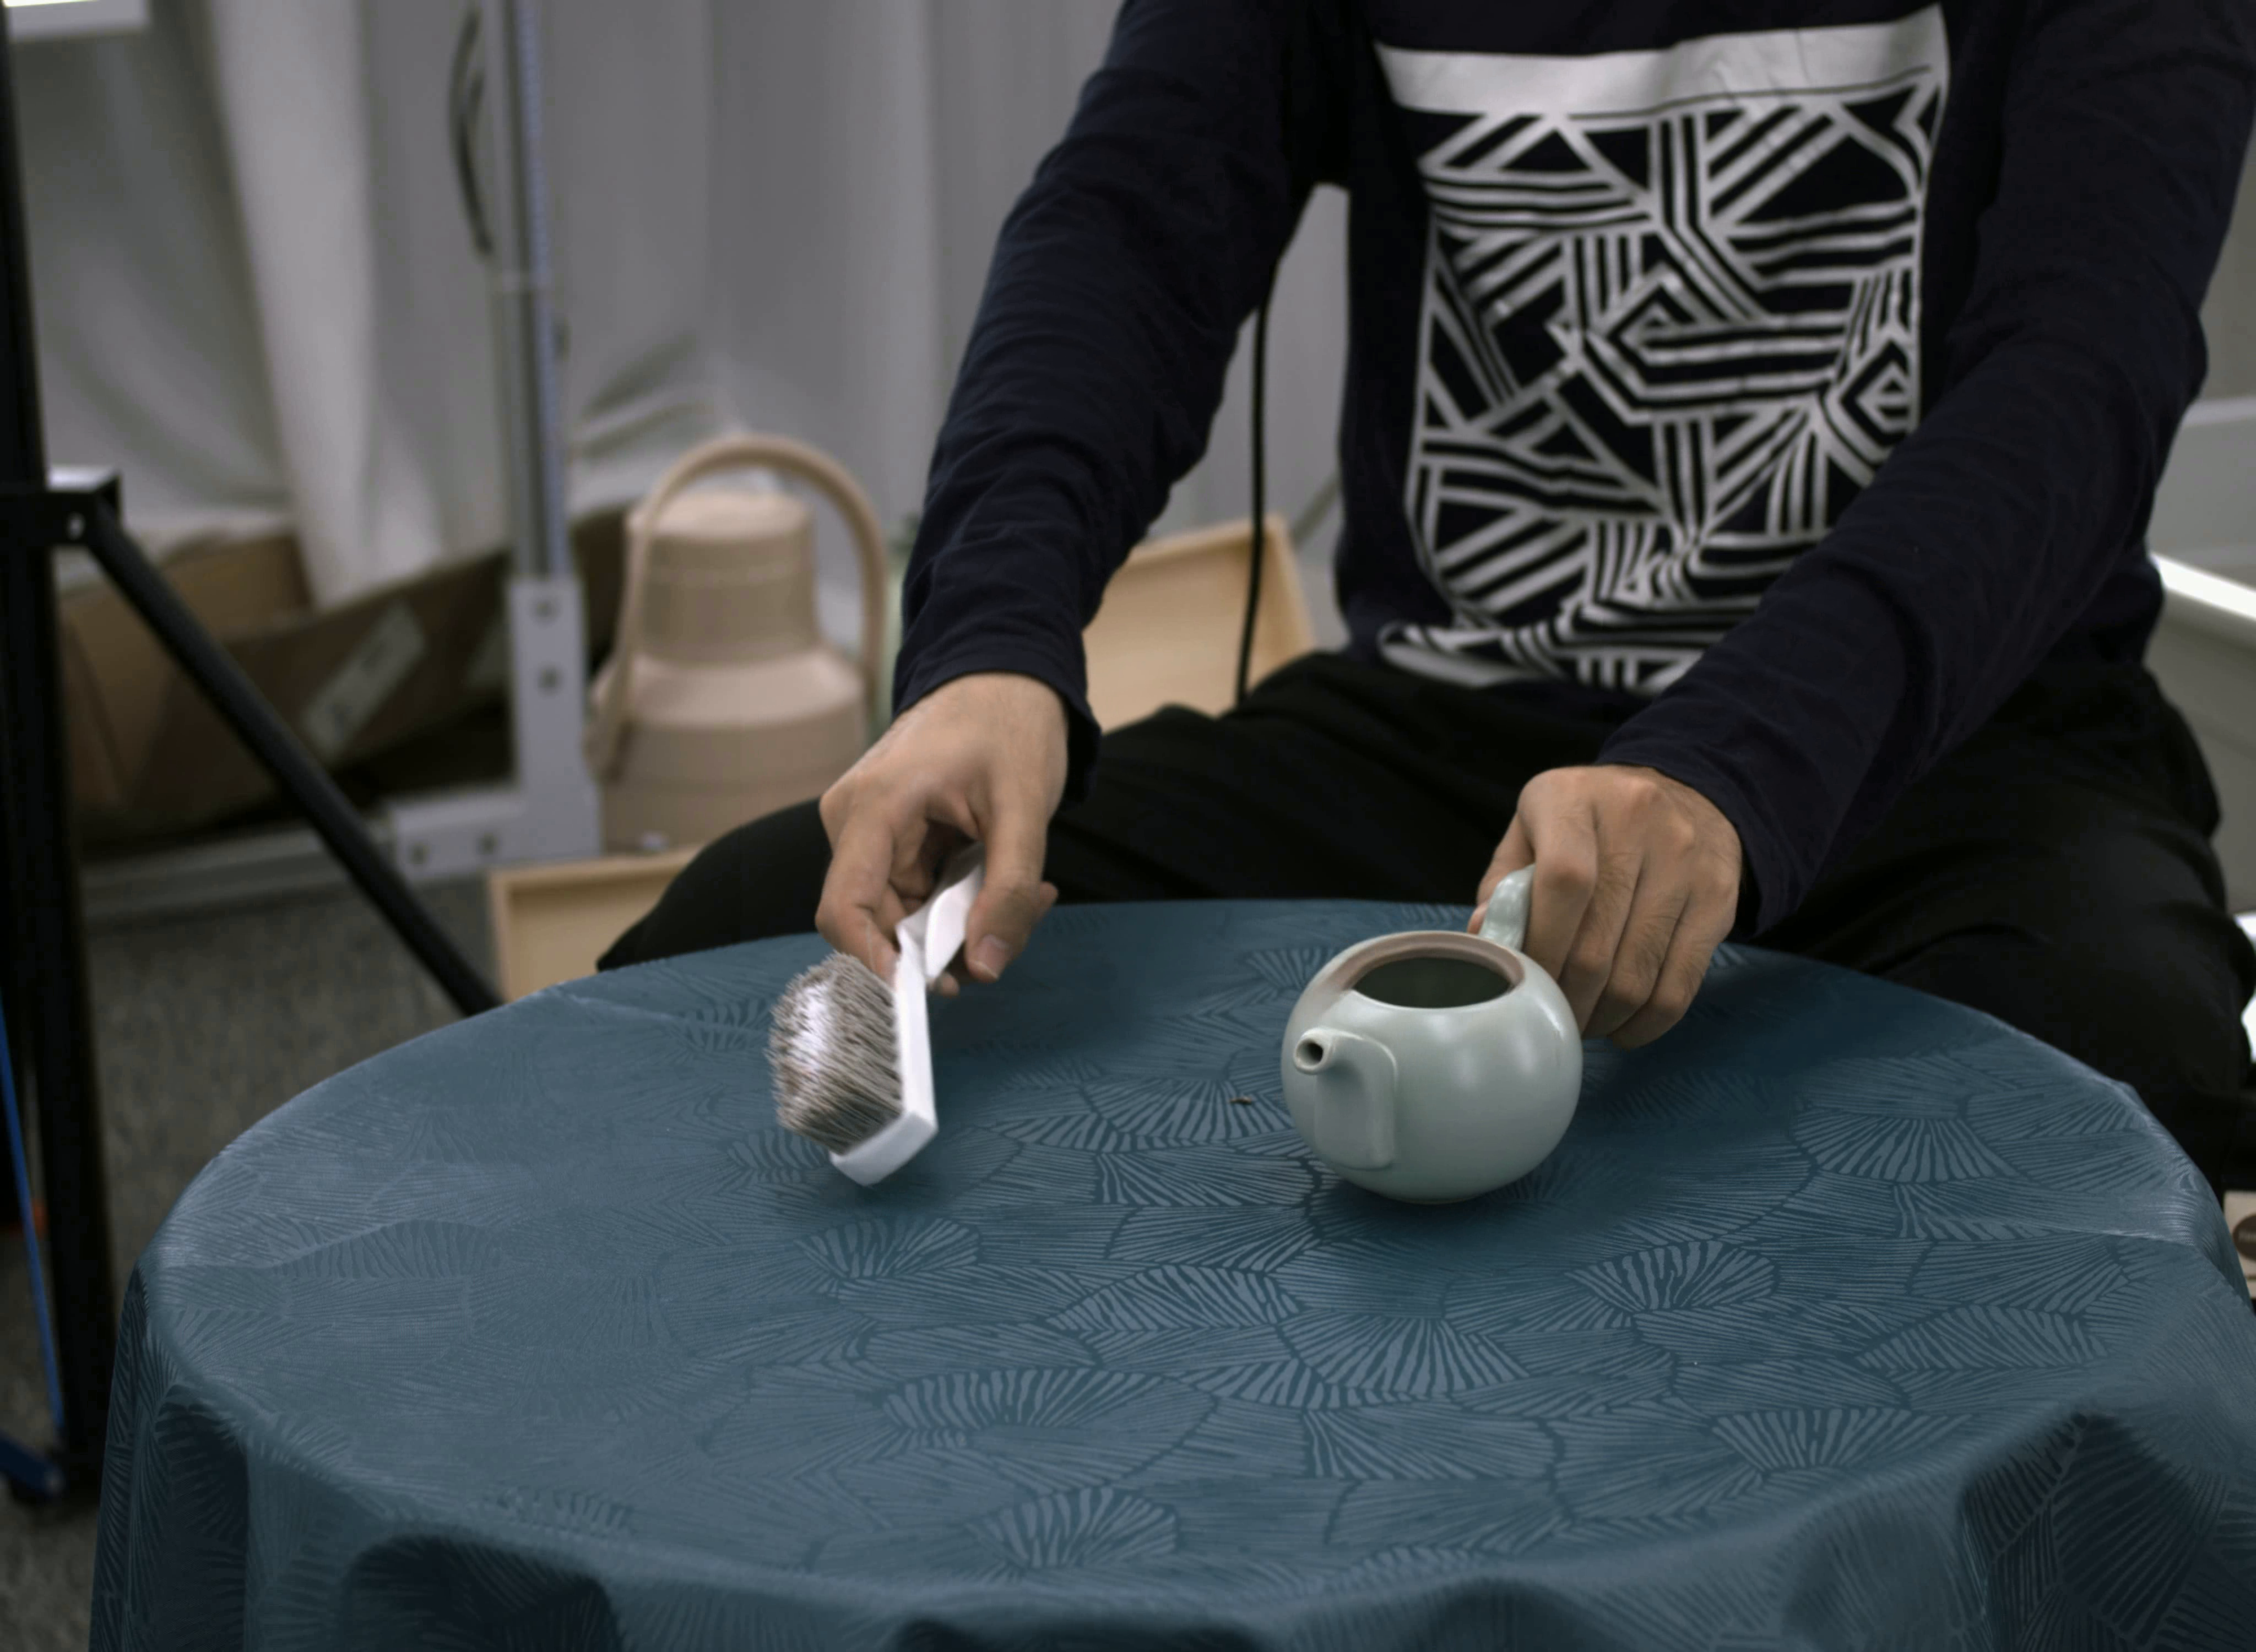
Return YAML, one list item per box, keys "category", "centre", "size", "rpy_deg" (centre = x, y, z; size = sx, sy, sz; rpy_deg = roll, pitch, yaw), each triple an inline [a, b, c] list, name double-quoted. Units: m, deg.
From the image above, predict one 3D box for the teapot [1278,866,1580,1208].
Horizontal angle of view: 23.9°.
- category: "teapot"
  centre: [0.088, 0.069, 1.545]
  size: [0.090, 0.074, 0.141]
  rpy_deg: [12, 28, 33]

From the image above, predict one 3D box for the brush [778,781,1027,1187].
- category: "brush"
  centre: [-0.069, 0.033, 1.658]
  size: [0.035, 0.049, 0.244]
  rpy_deg: [-35, 18, 23]
